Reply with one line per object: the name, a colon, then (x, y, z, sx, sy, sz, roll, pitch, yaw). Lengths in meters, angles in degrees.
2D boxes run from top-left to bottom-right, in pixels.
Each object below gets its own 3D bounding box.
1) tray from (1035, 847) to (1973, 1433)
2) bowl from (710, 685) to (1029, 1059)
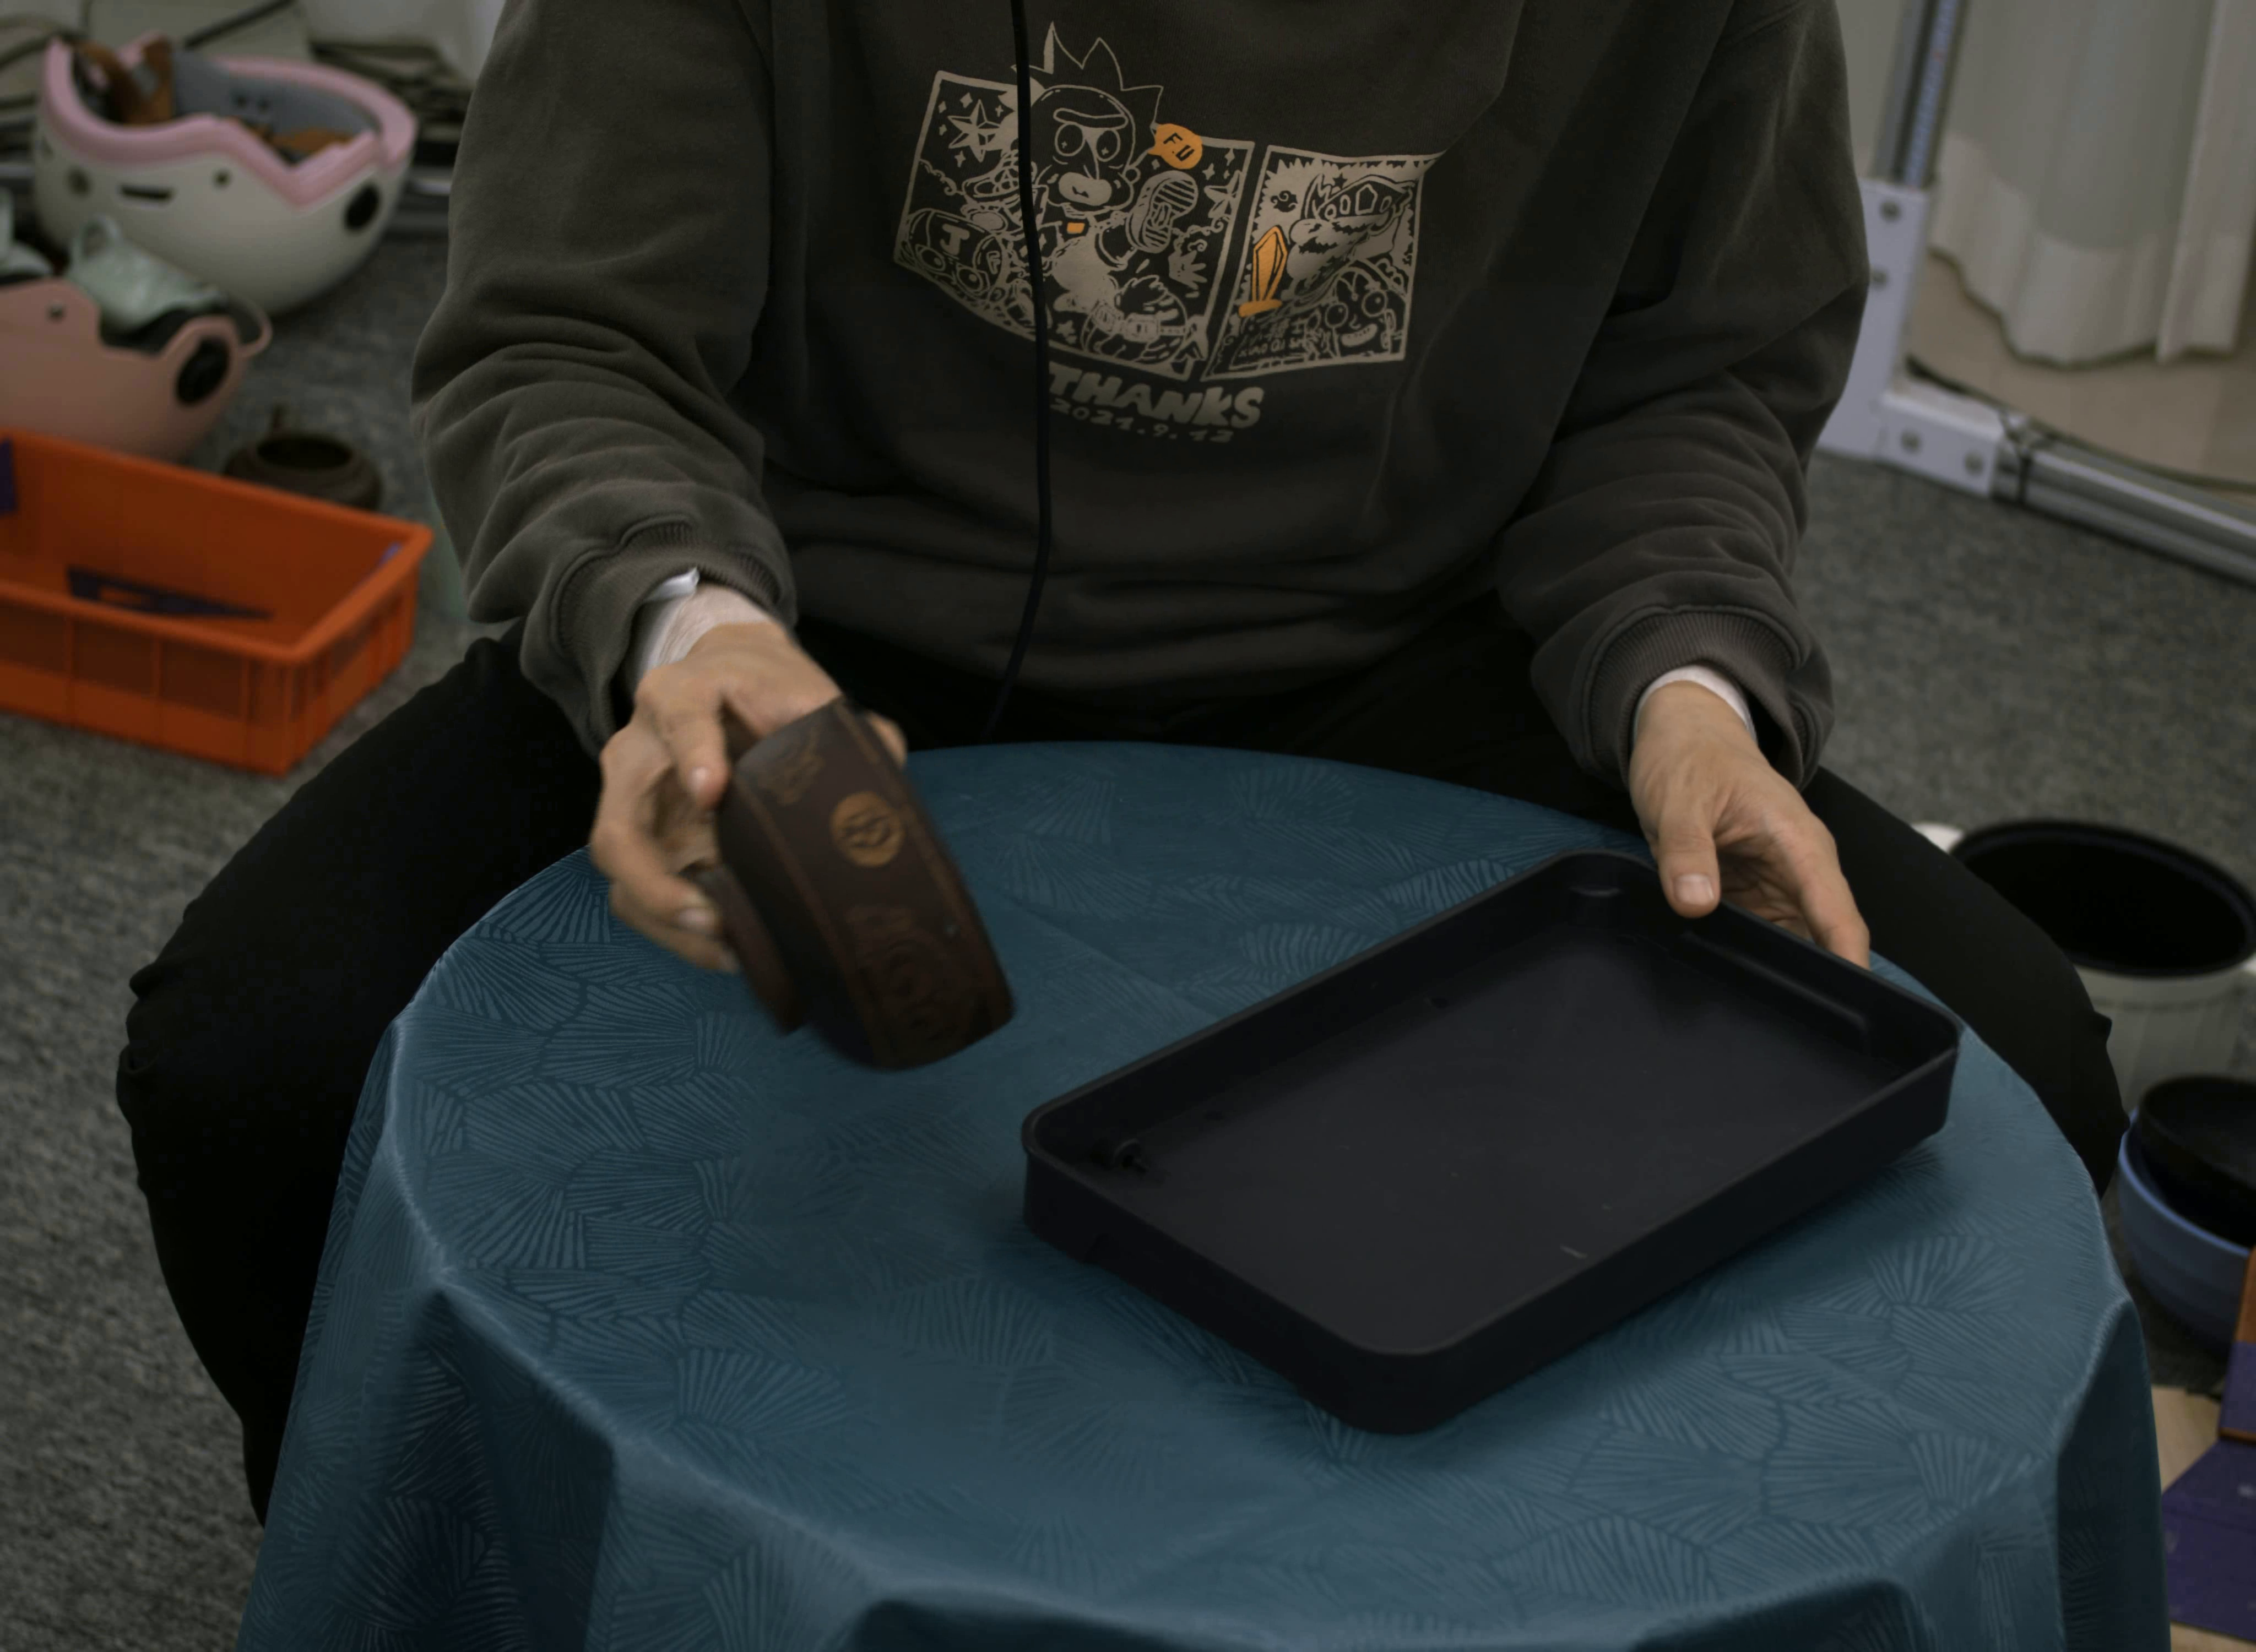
tray: (0.132, 0.101, 1.825, 0.185, 0.037, 0.317, 26, 35, 35)
bowl: (-0.089, 0.022, 1.681, 0.070, 0.117, 0.119, -29, 36, -10)
